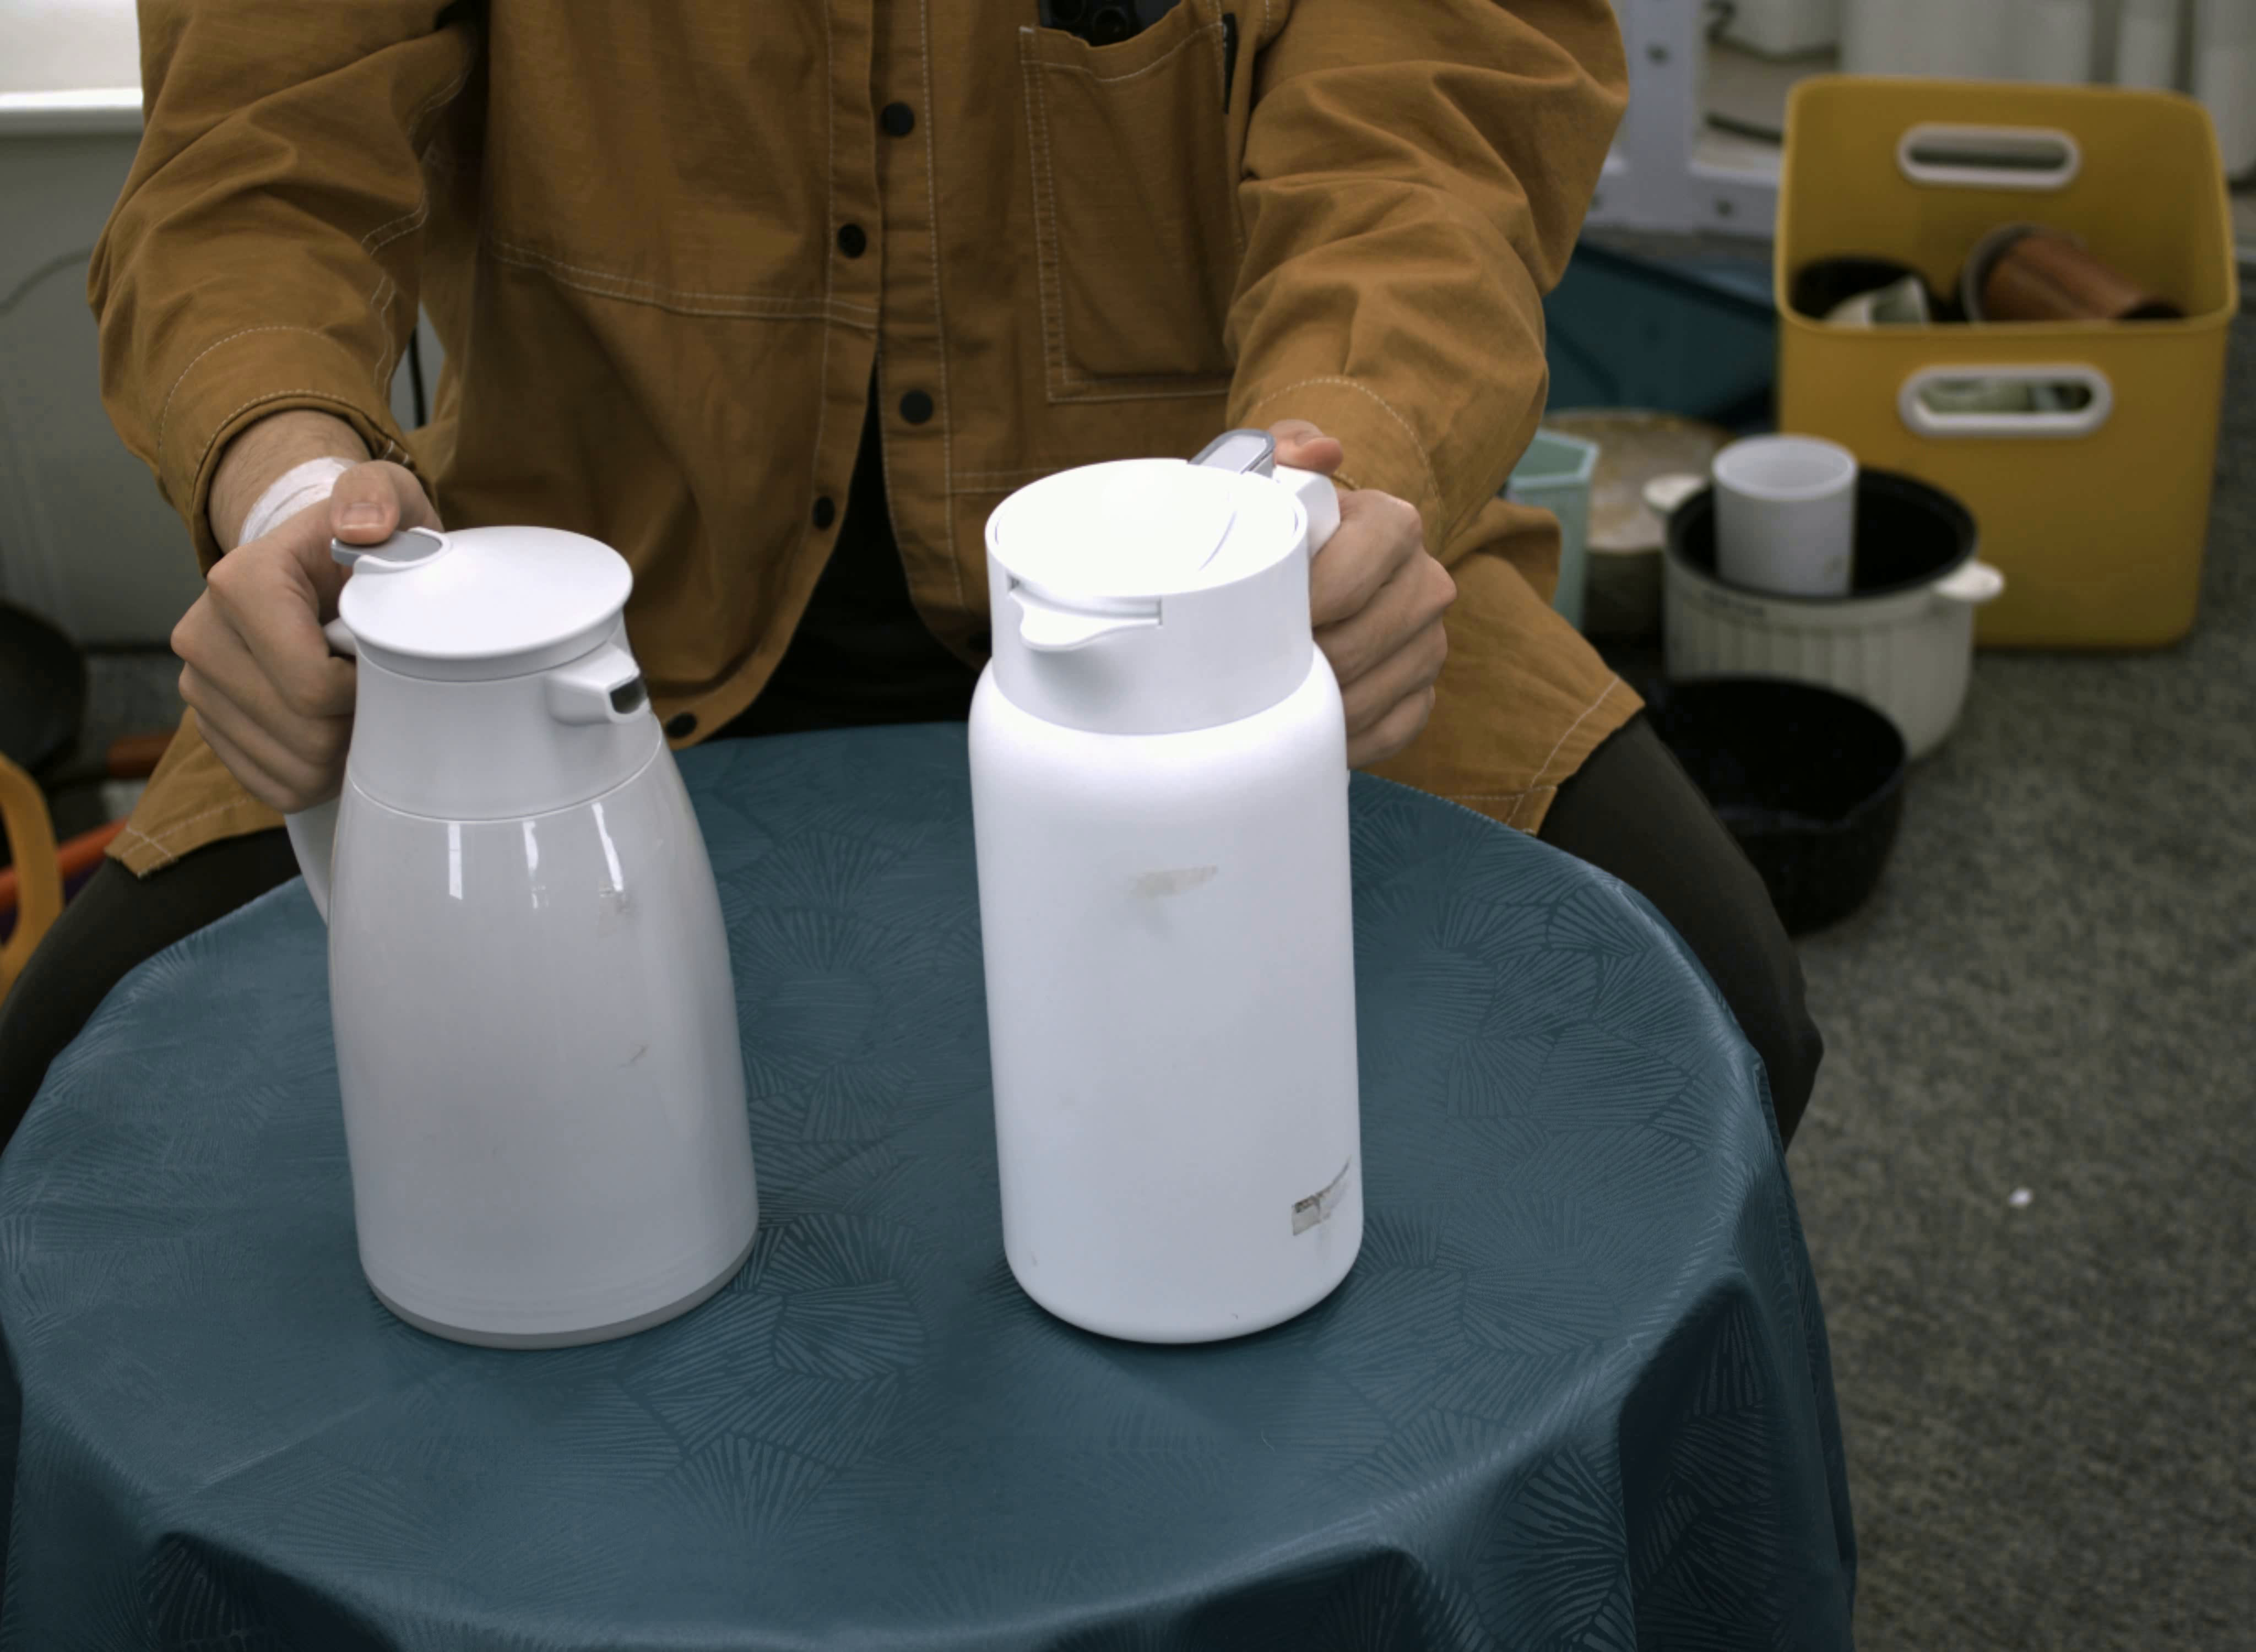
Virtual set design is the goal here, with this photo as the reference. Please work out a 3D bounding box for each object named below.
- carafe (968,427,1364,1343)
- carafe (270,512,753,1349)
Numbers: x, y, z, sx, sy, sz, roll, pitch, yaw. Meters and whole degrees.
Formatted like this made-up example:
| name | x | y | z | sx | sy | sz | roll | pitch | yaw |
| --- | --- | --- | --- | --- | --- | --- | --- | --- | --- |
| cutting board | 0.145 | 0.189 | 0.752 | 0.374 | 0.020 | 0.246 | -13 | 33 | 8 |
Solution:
| name | x | y | z | sx | sy | sz | roll | pitch | yaw |
| --- | --- | --- | --- | --- | --- | --- | --- | --- | --- |
| carafe | 0.019 | 0.015 | 1.777 | 0.123 | 0.266 | 0.175 | 8 | 28 | 26 |
| carafe | -0.209 | 0.023 | 1.803 | 0.167 | 0.246 | 0.134 | 17 | 32 | 36 |
